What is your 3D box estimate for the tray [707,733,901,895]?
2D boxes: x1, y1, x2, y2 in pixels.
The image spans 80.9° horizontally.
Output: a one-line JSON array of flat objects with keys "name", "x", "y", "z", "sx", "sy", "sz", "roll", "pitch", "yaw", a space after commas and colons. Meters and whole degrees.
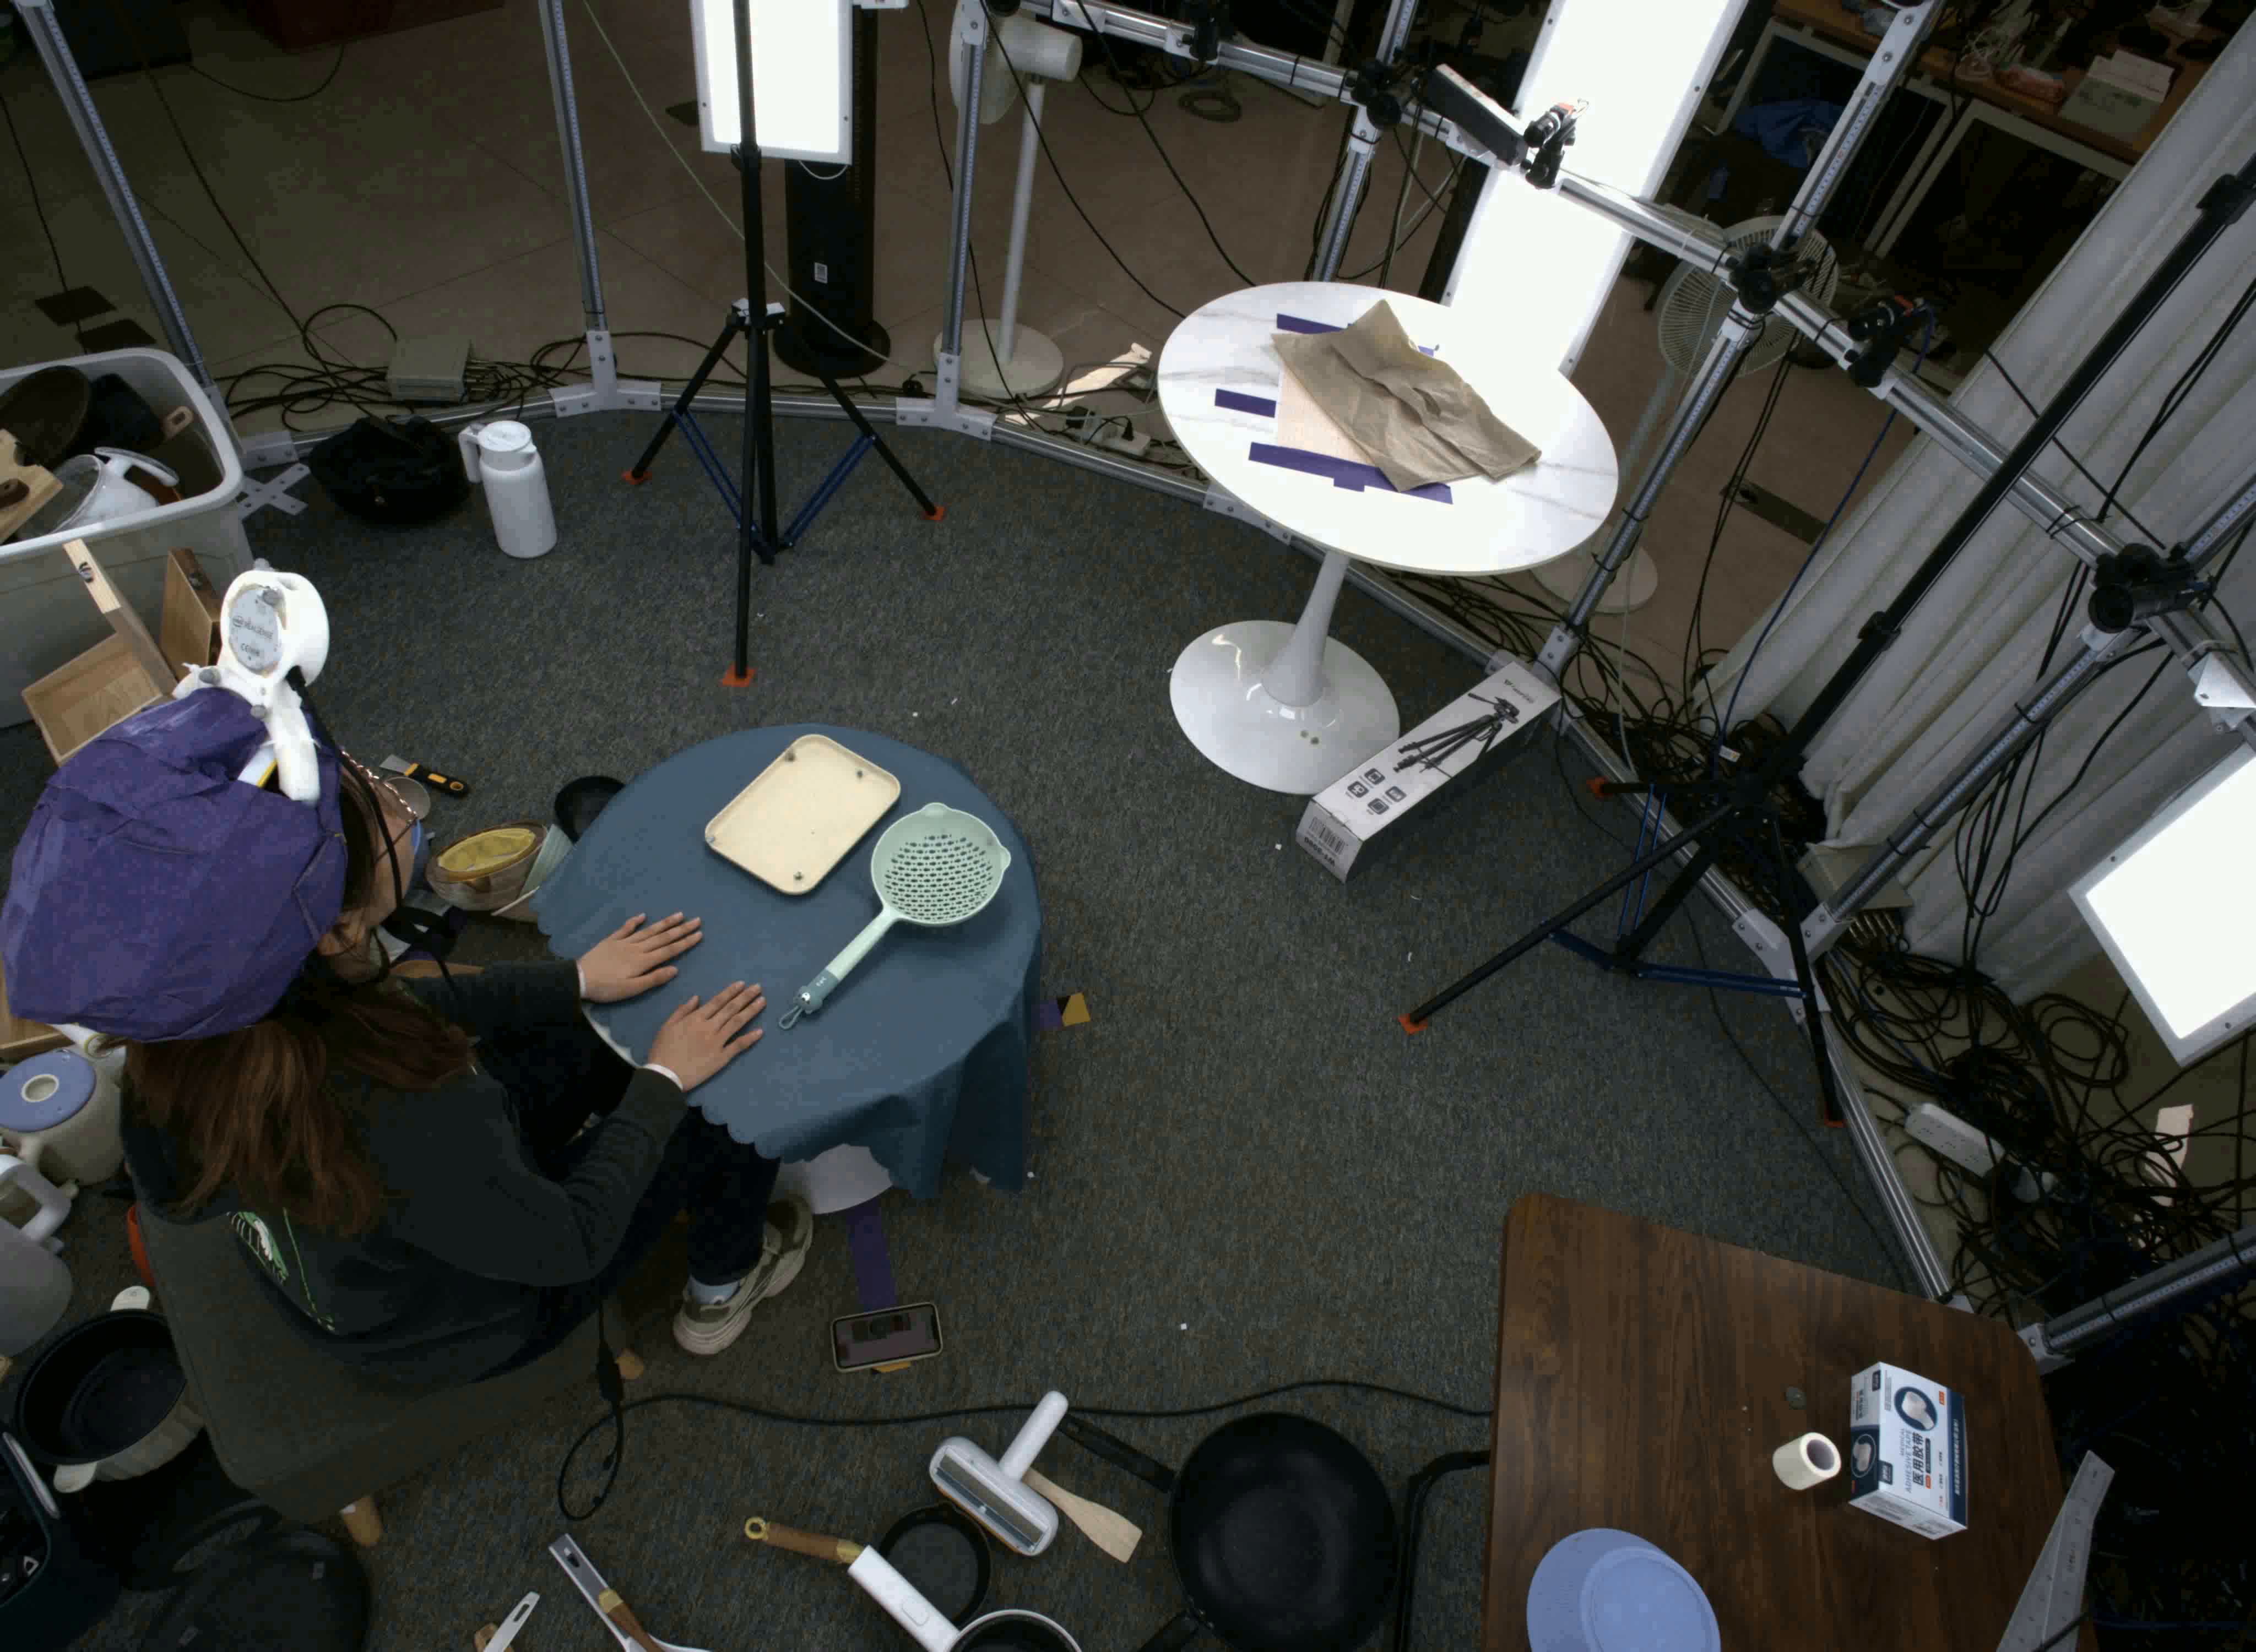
[{"name": "tray", "x": -0.430, "y": -0.019, "z": 1.731, "sx": 0.168, "sy": 0.018, "sz": 0.239, "roll": 30, "pitch": 53, "yaw": 9}]

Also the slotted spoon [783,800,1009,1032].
[{"name": "slotted spoon", "x": -0.303, "y": 0.117, "z": 1.634, "sx": 0.166, "sy": 0.077, "sz": 0.358, "roll": 35, "pitch": 54, "yaw": 14}]
